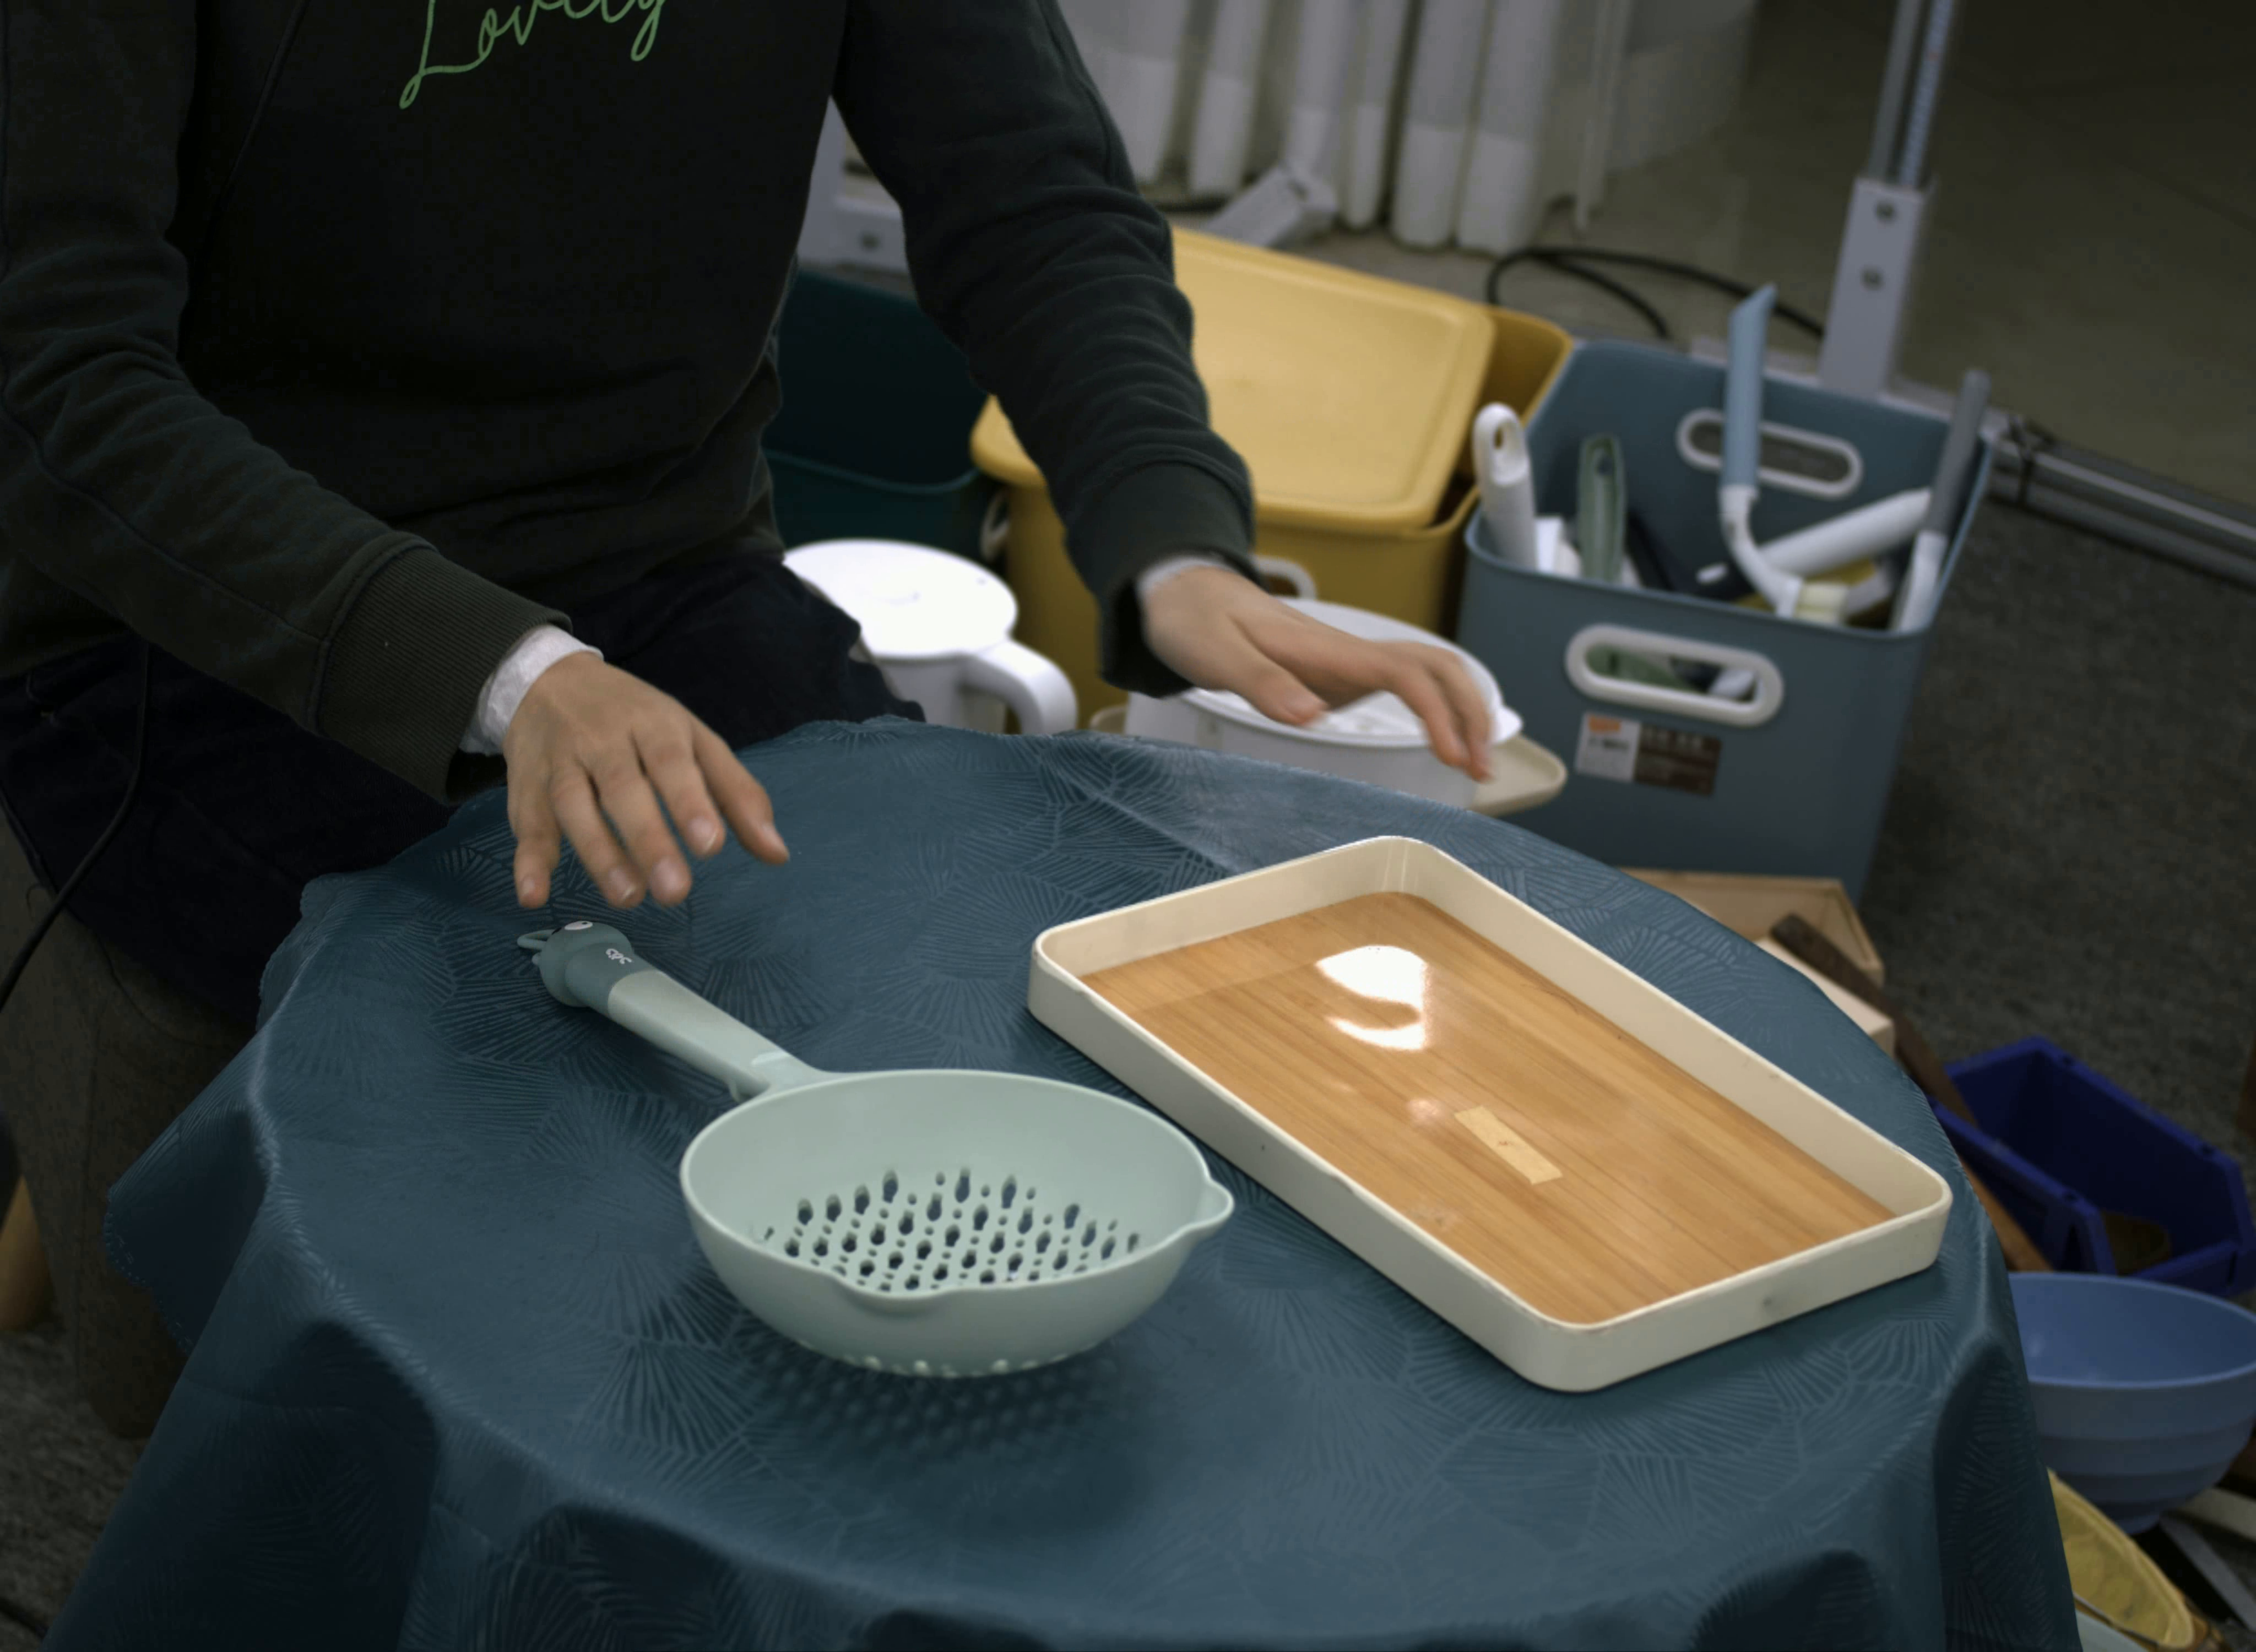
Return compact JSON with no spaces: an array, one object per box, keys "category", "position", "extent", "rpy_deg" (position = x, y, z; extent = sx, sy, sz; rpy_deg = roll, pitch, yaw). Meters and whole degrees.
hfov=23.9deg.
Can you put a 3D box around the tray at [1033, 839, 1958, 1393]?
[{"category":"tray","position":[0.123,0.095,1.856],"extent":[0.190,0.027,0.303],"rpy_deg":[-14,34,-35]}]

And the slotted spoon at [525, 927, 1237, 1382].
[{"category":"slotted spoon","position":[-0.112,0.093,1.766],"extent":[0.168,0.075,0.362],"rpy_deg":[-11,31,-32]}]
